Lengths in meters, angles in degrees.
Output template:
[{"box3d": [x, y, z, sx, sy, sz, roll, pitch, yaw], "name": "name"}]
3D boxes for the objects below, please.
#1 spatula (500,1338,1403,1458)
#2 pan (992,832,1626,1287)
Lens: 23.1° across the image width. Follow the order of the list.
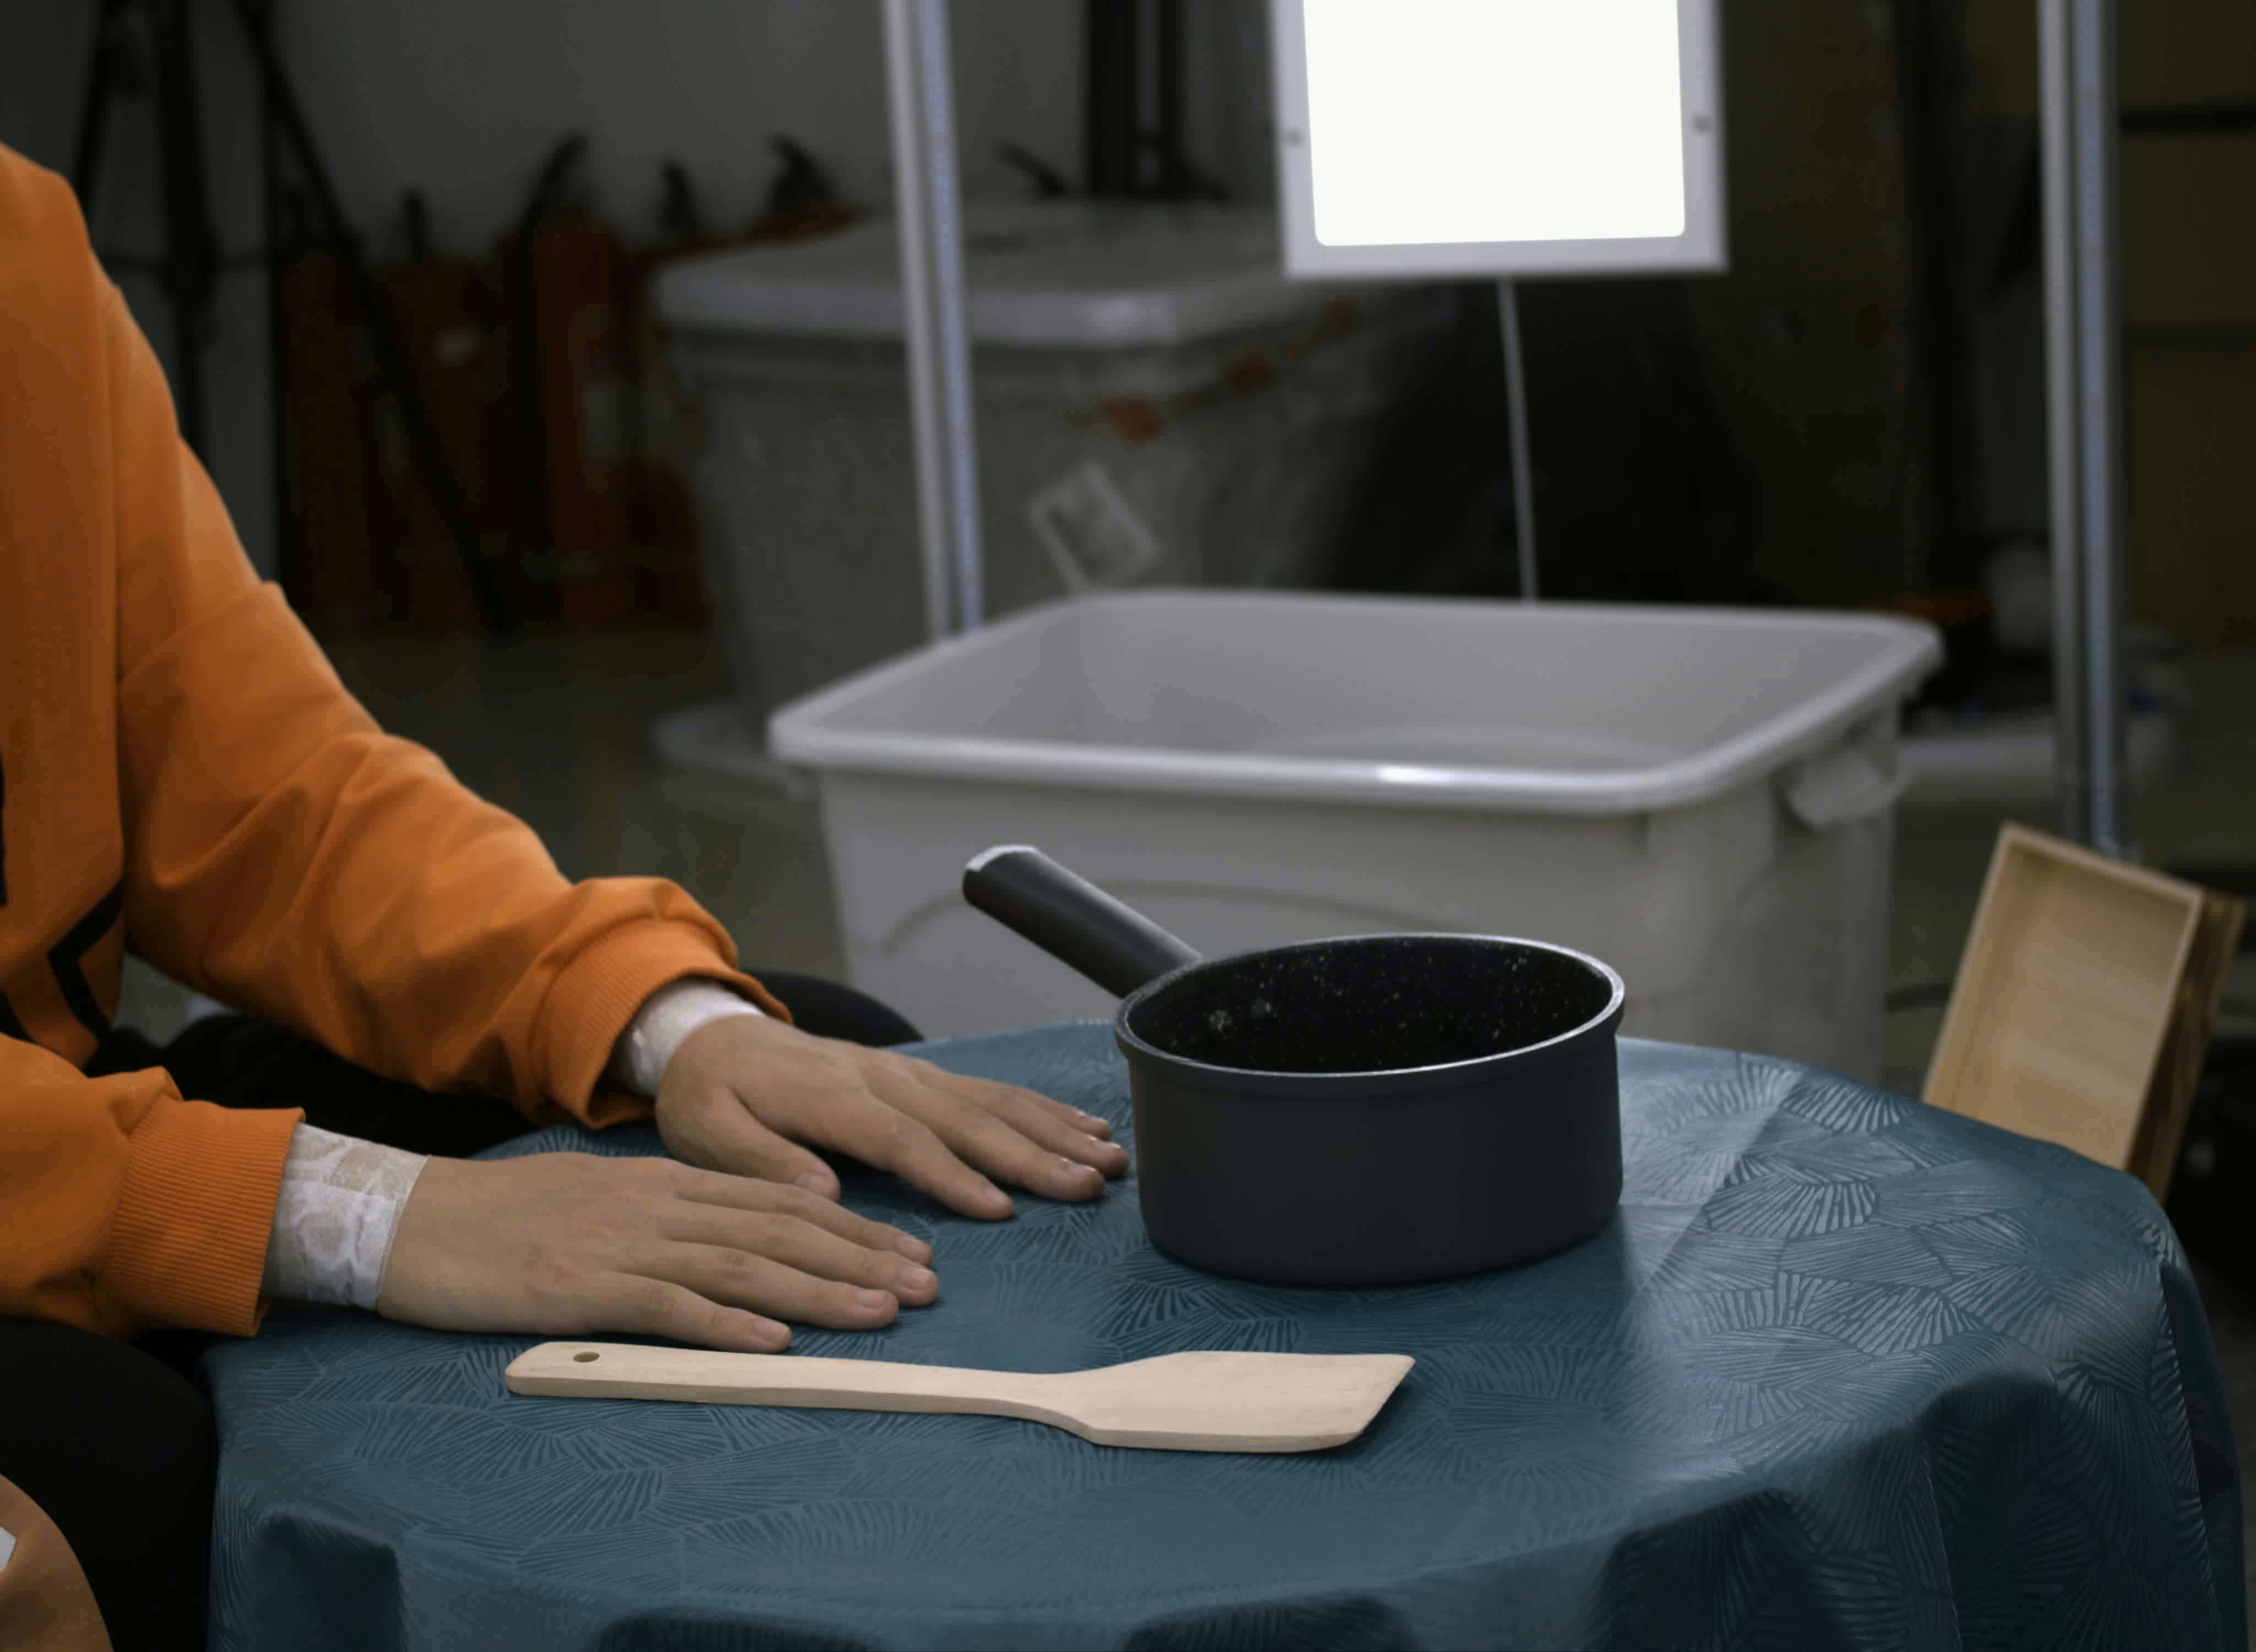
[{"box3d": [-0.061, 0.174, 1.709, 0.297, 0.011, 0.071, 0, 18, 22], "name": "spatula"}, {"box3d": [0.043, 0.077, 1.908, 0.168, 0.087, 0.334, -11, 17, -27], "name": "pan"}]
